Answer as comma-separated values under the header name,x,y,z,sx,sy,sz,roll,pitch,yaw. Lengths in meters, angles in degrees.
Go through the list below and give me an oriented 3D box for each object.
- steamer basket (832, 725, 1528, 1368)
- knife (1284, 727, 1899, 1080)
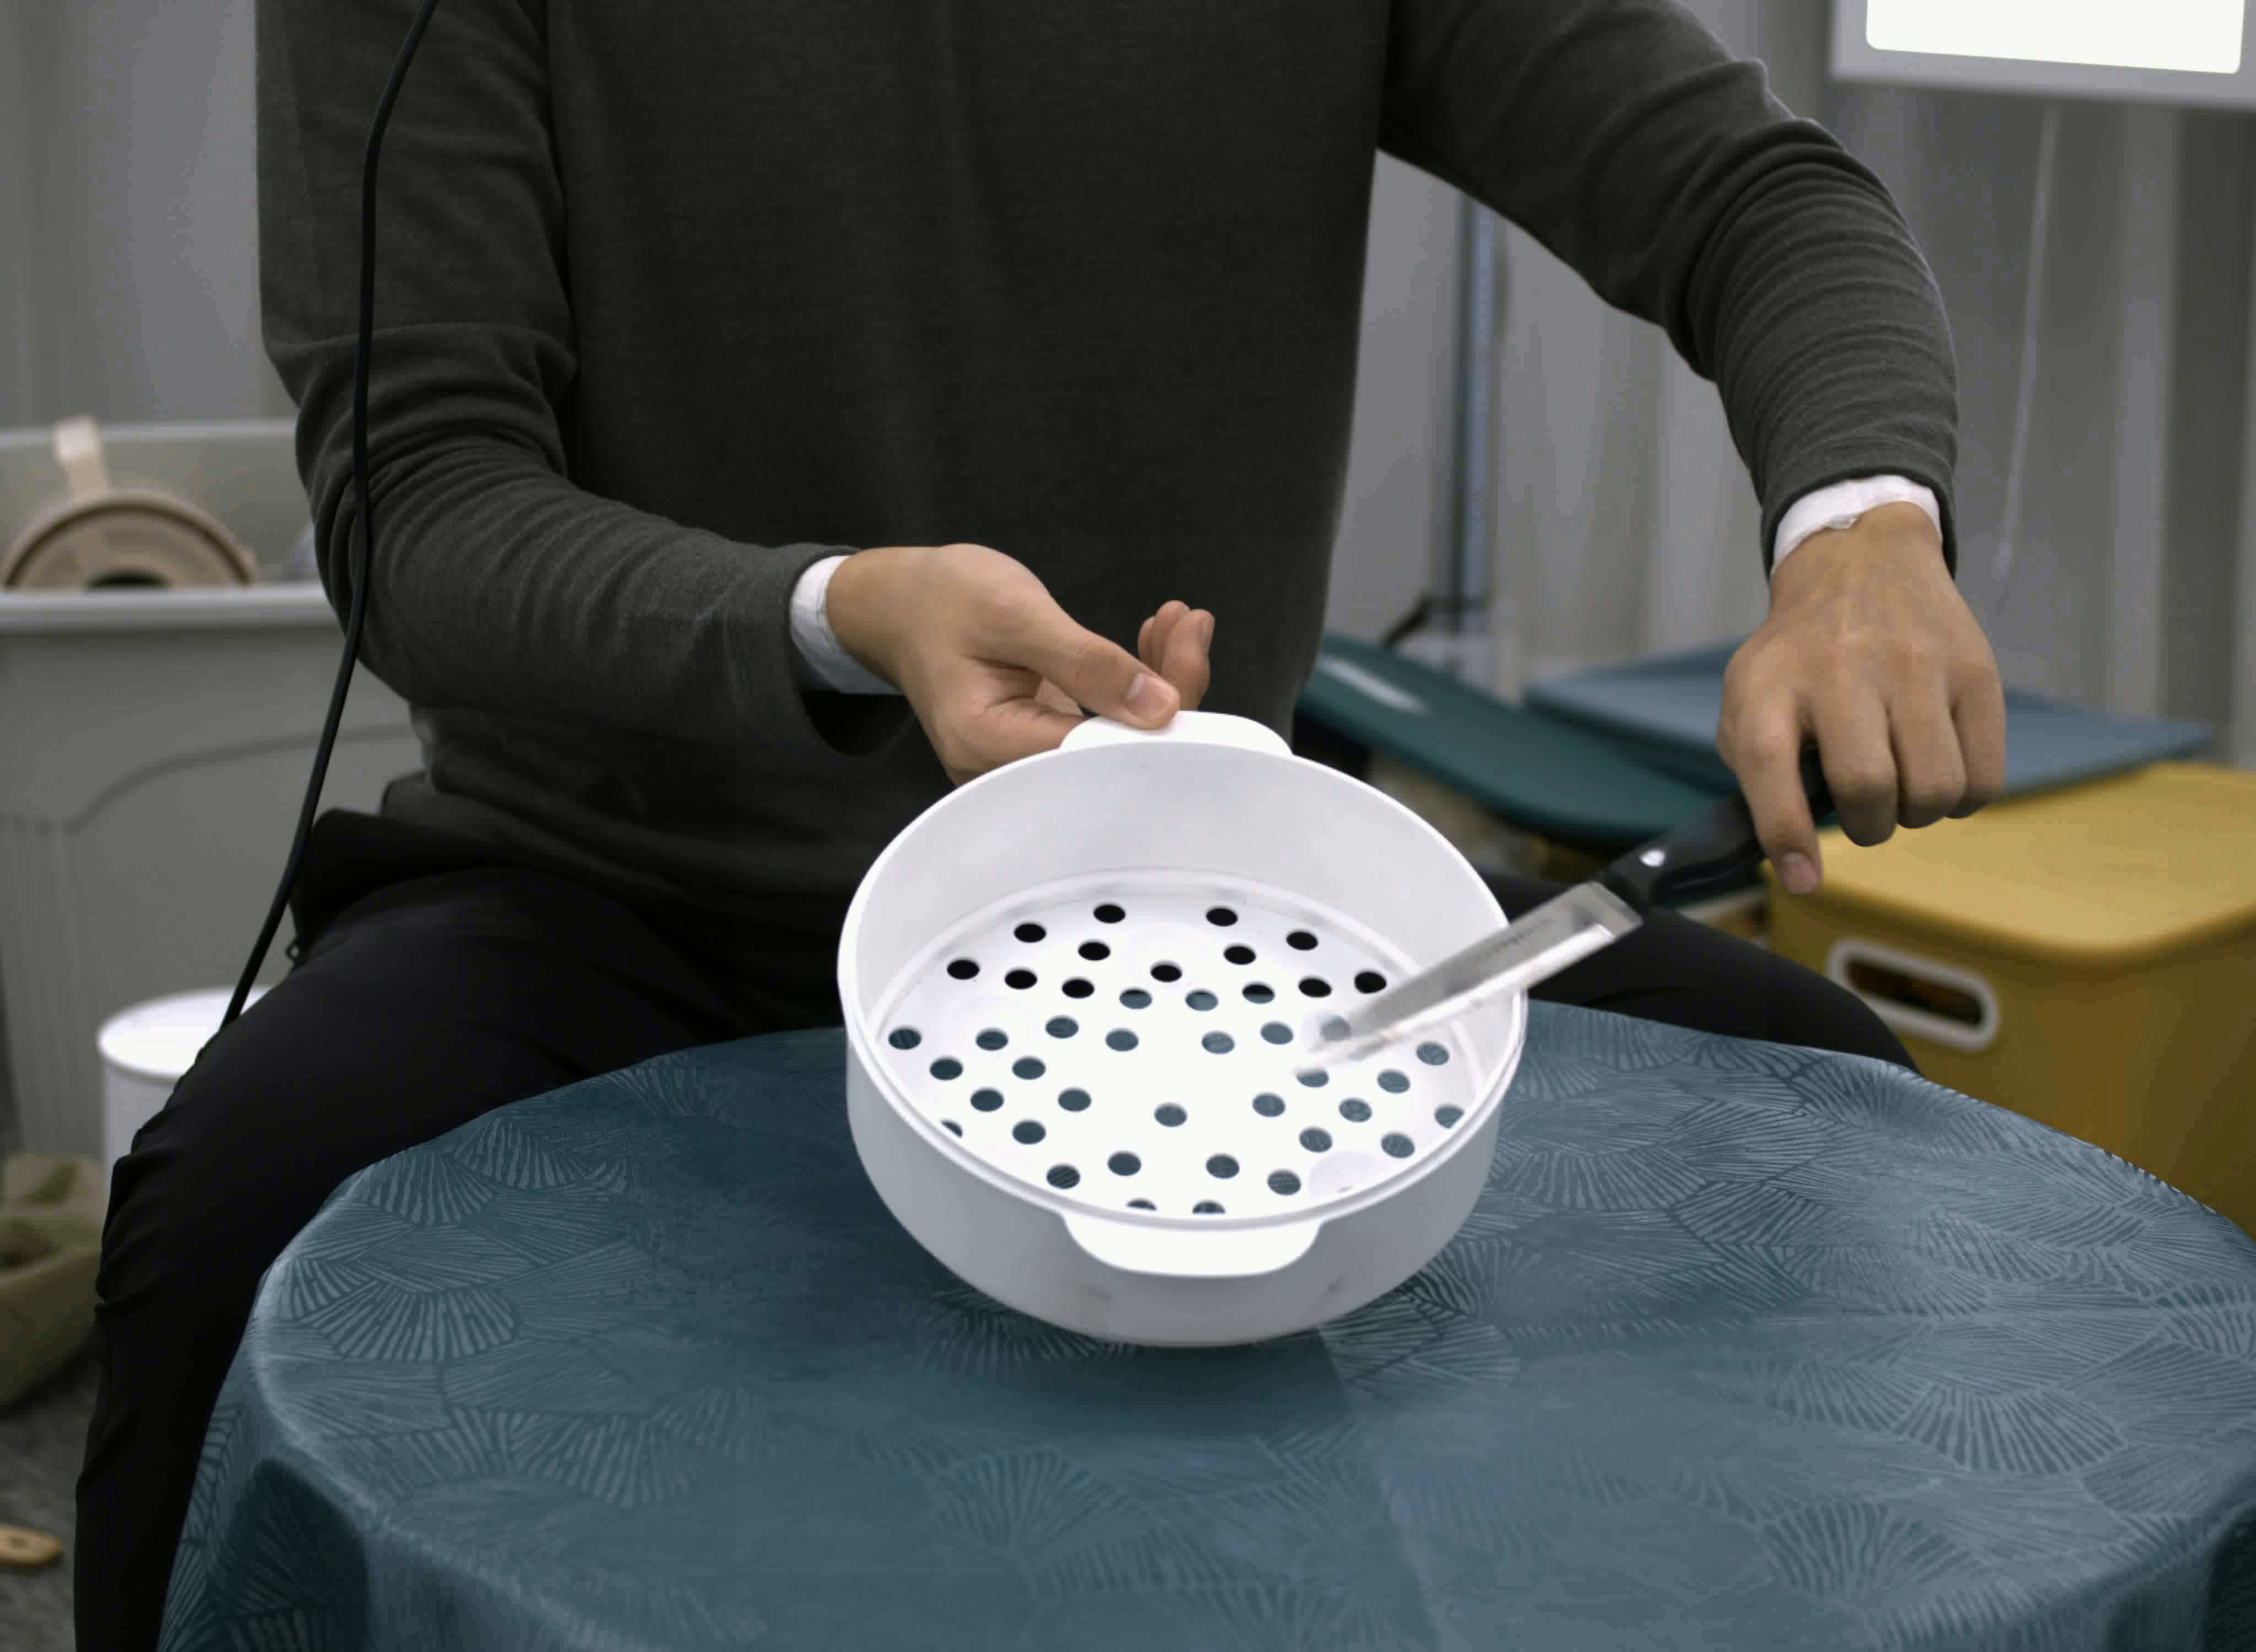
name,x,y,z,sx,sy,sz,roll,pitch,yaw
steamer basket,0.014,0.067,1.537,0.201,0.070,0.228,3,43,-4
knife,0.136,0.022,1.546,0.238,0.016,0.024,-27,50,-28
